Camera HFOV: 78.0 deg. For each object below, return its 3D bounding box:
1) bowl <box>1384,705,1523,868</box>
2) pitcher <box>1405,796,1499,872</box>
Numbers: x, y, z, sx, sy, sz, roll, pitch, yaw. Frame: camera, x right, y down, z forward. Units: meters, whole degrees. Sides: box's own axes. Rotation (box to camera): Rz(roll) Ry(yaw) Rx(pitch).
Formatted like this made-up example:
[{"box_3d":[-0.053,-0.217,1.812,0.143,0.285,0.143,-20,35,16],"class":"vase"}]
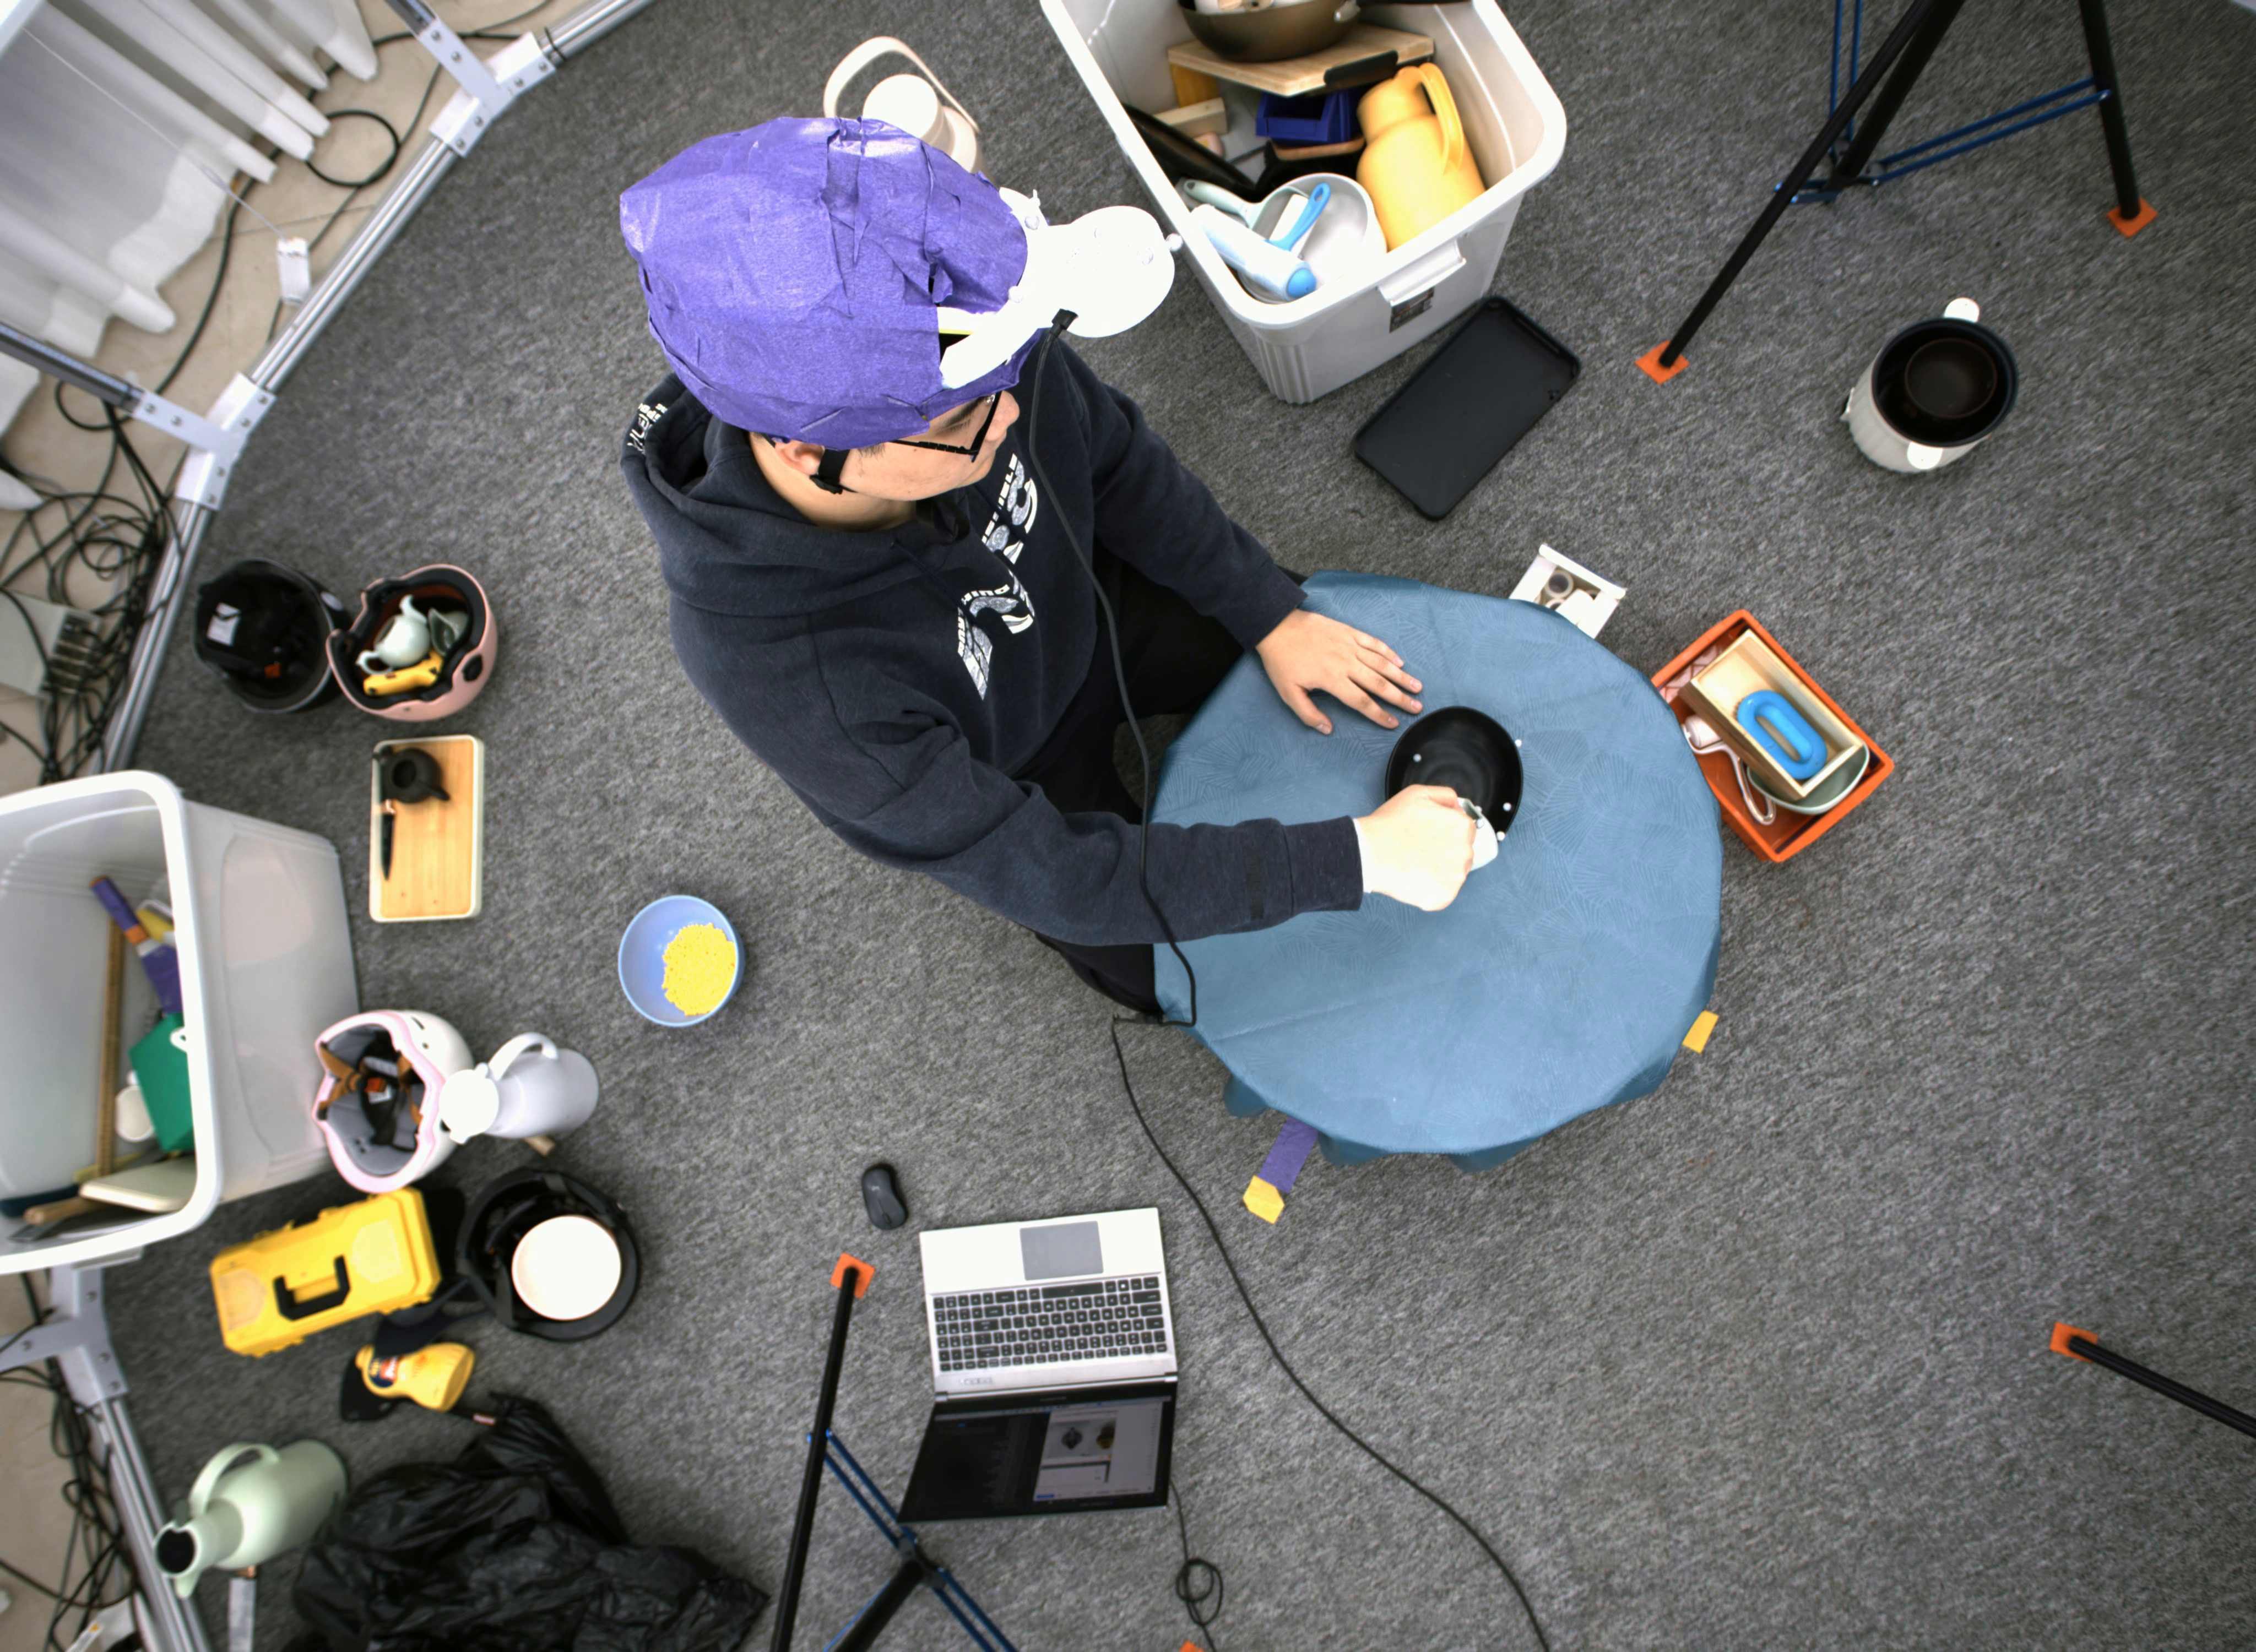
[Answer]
[{"box_3d":[0.335,-0.039,1.423,0.137,0.066,0.170,12,89,12],"class":"bowl"},{"box_3d":[0.298,0.010,1.264,0.086,0.106,0.061,8,108,13],"class":"pitcher"}]
